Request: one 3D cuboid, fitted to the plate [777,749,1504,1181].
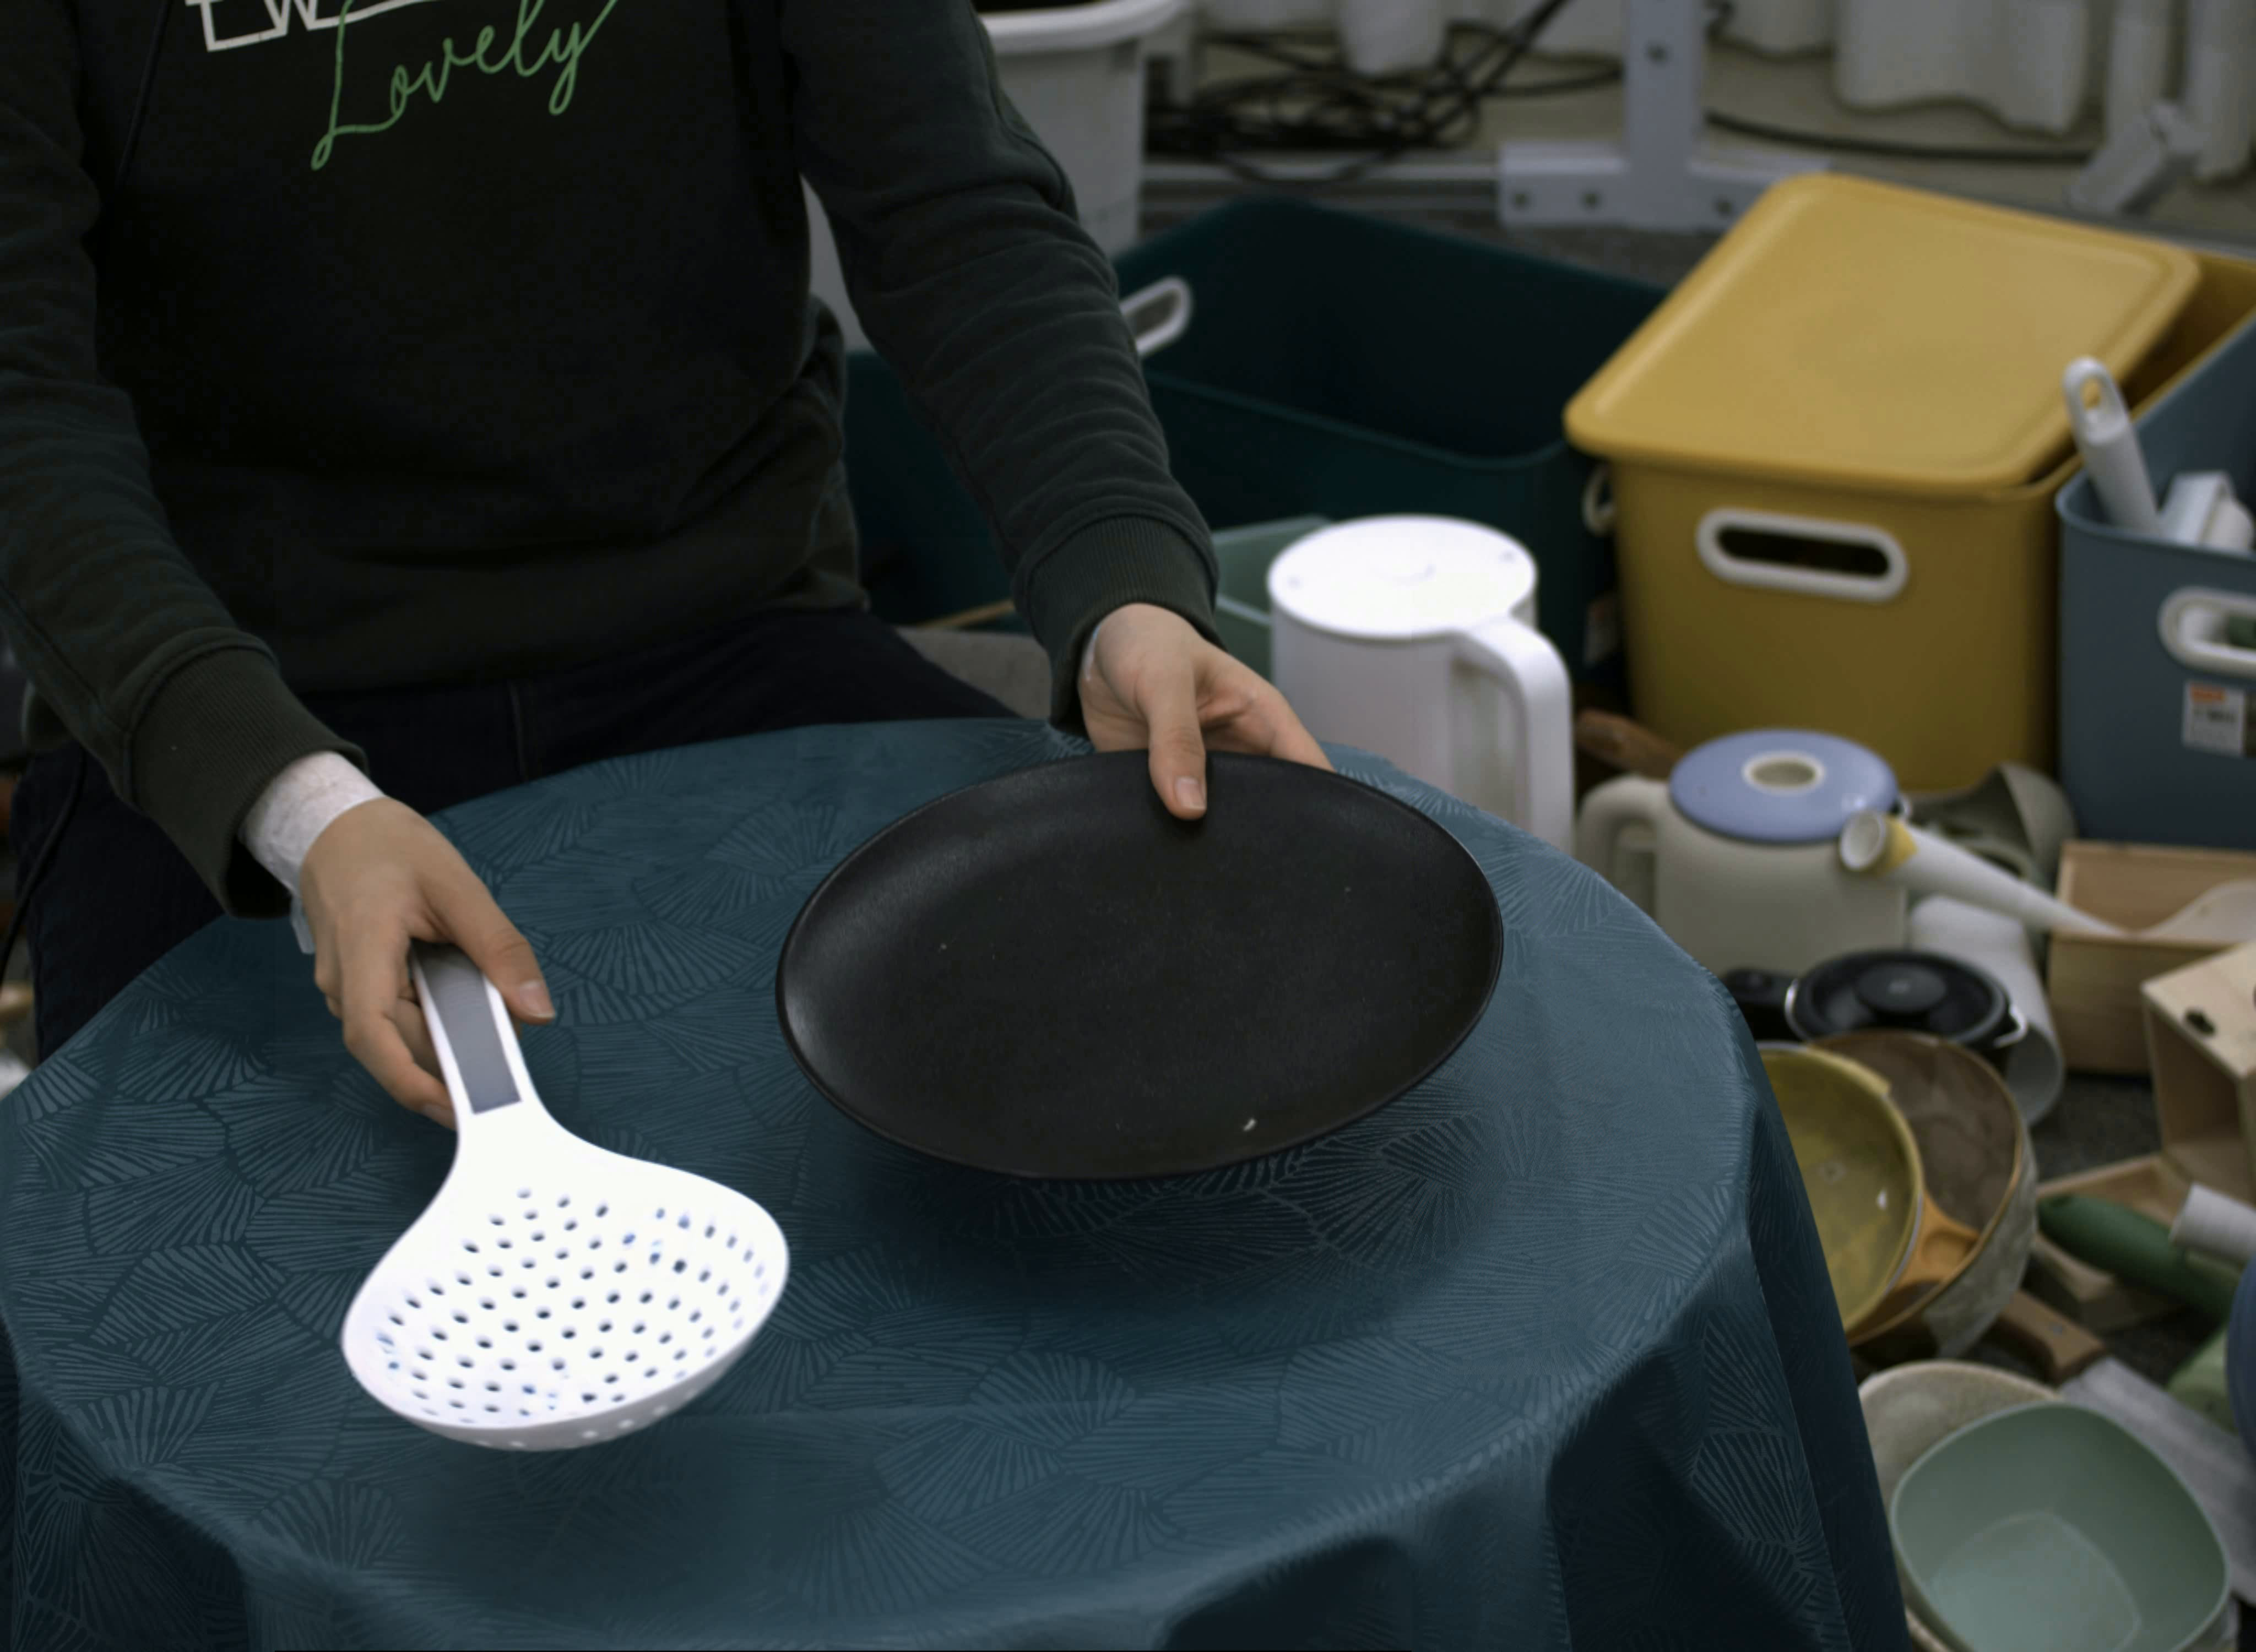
[{"bbox_3d":[0.005,0.049,1.871,0.243,0.023,0.249,-3,33,3],"label":"plate"}]

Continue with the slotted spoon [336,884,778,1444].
[{"bbox_3d":[-0.198,0.101,1.786,0.136,0.045,0.354,-14,32,-9],"label":"slotted spoon"}]
